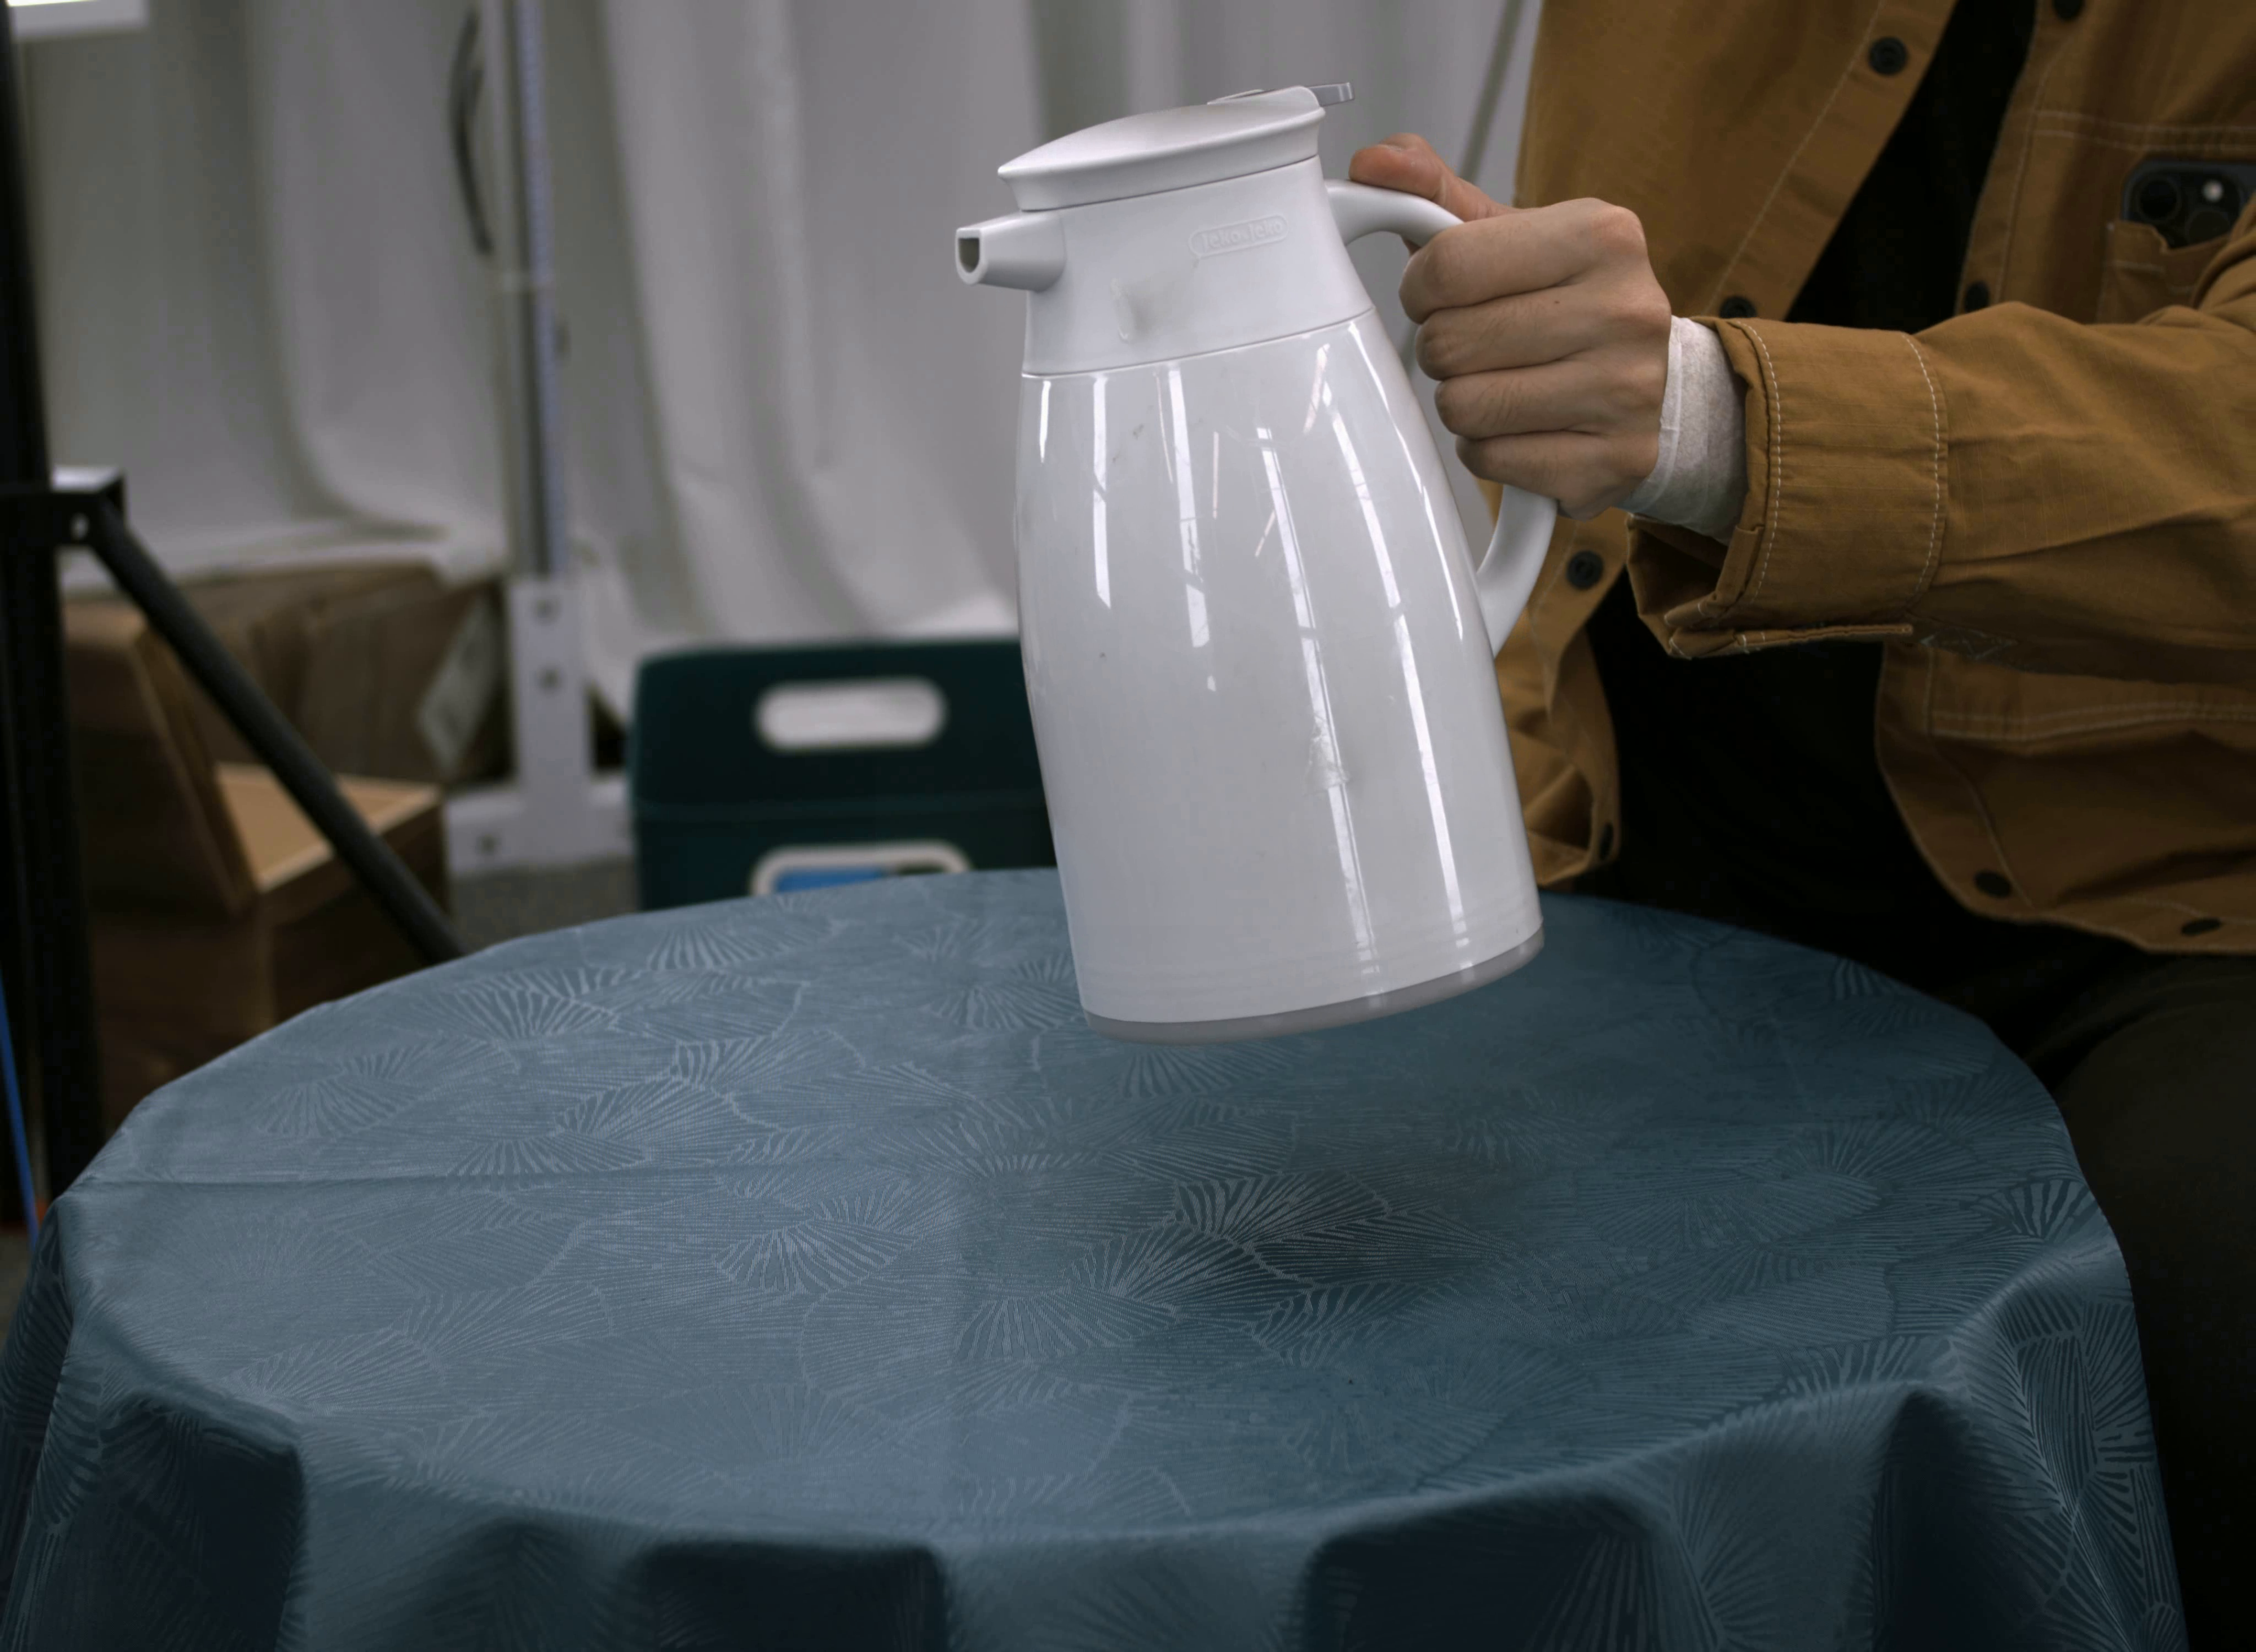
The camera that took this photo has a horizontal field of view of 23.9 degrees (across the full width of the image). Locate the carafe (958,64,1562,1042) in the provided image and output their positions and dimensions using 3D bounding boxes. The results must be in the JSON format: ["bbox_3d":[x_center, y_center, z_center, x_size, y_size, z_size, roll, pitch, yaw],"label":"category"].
[{"bbox_3d":[0.047,-0.081,1.477,0.164,0.249,0.135,-14,9,-22],"label":"carafe"}]
